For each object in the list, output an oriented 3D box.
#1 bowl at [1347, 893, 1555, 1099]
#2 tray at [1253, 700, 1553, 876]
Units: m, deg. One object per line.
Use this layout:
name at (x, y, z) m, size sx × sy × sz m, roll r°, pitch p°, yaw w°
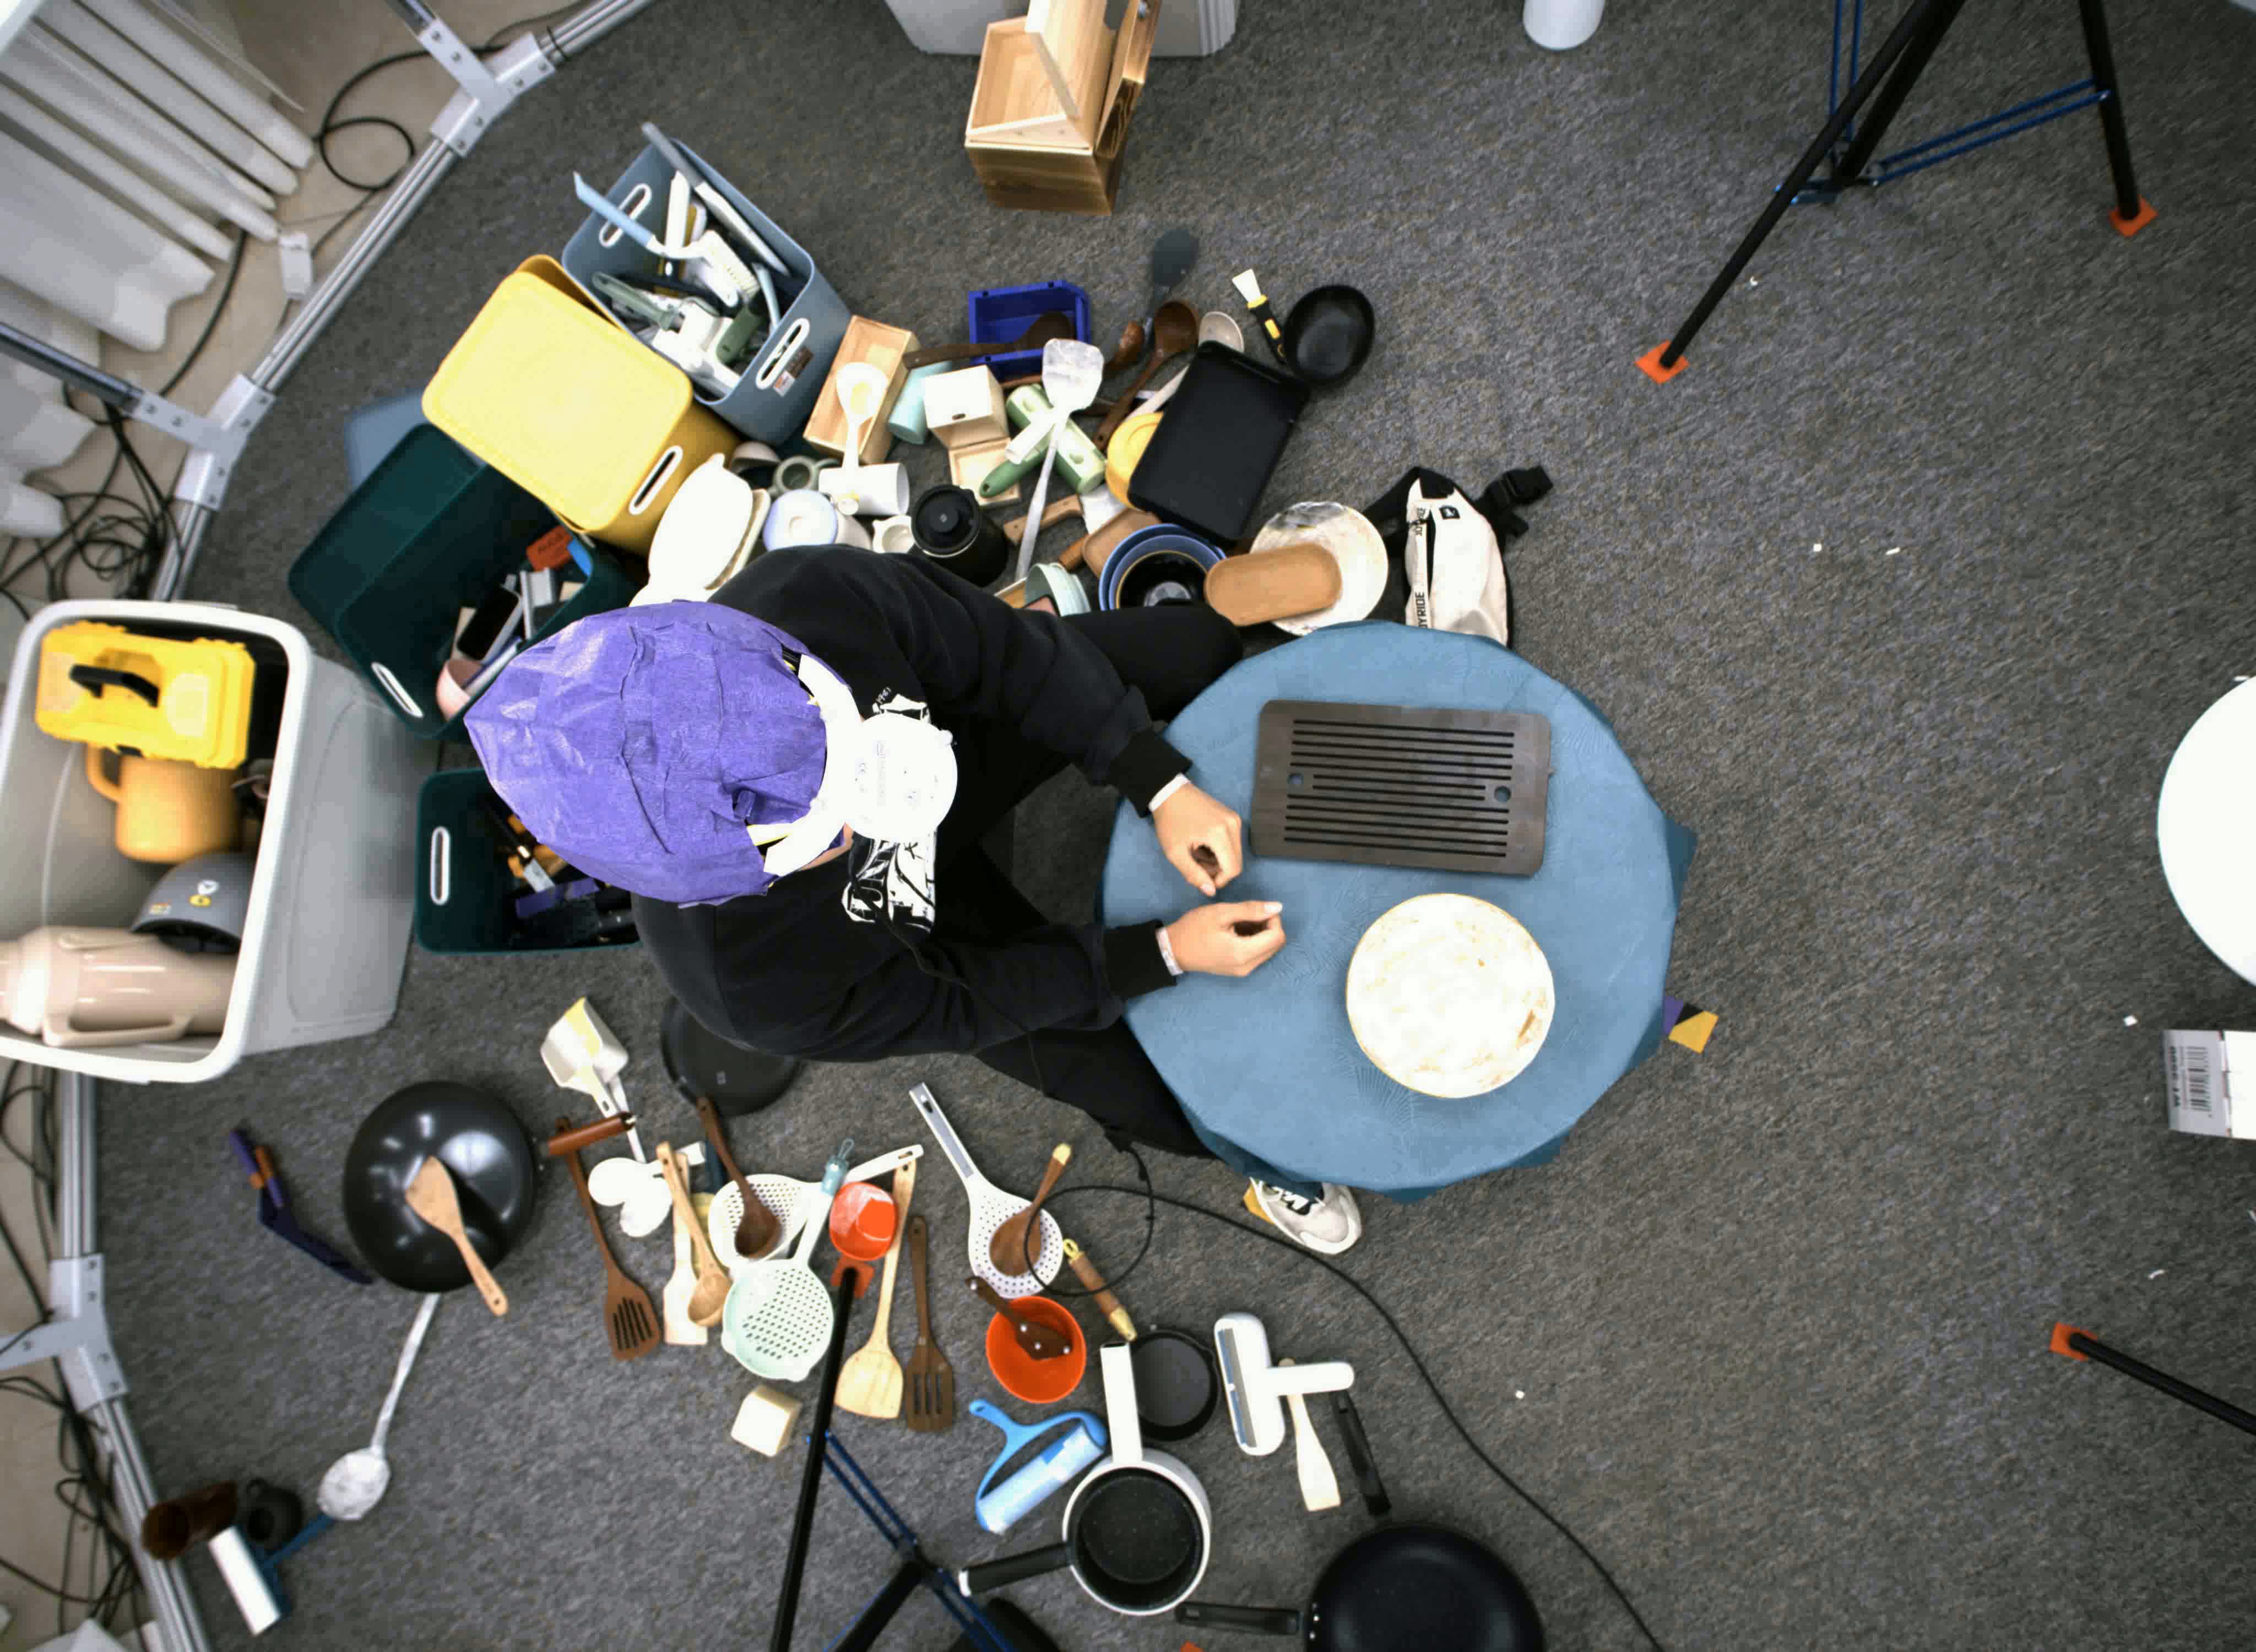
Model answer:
bowl at (0.322, 0.167, 1.402) m, size 0.215 × 0.094 × 0.214 m, roll -1°, pitch 87°, yaw 11°
tray at (0.289, -0.043, 1.460) m, size 0.307 × 0.018 × 0.169 m, roll 4°, pitch 87°, yaw 11°
